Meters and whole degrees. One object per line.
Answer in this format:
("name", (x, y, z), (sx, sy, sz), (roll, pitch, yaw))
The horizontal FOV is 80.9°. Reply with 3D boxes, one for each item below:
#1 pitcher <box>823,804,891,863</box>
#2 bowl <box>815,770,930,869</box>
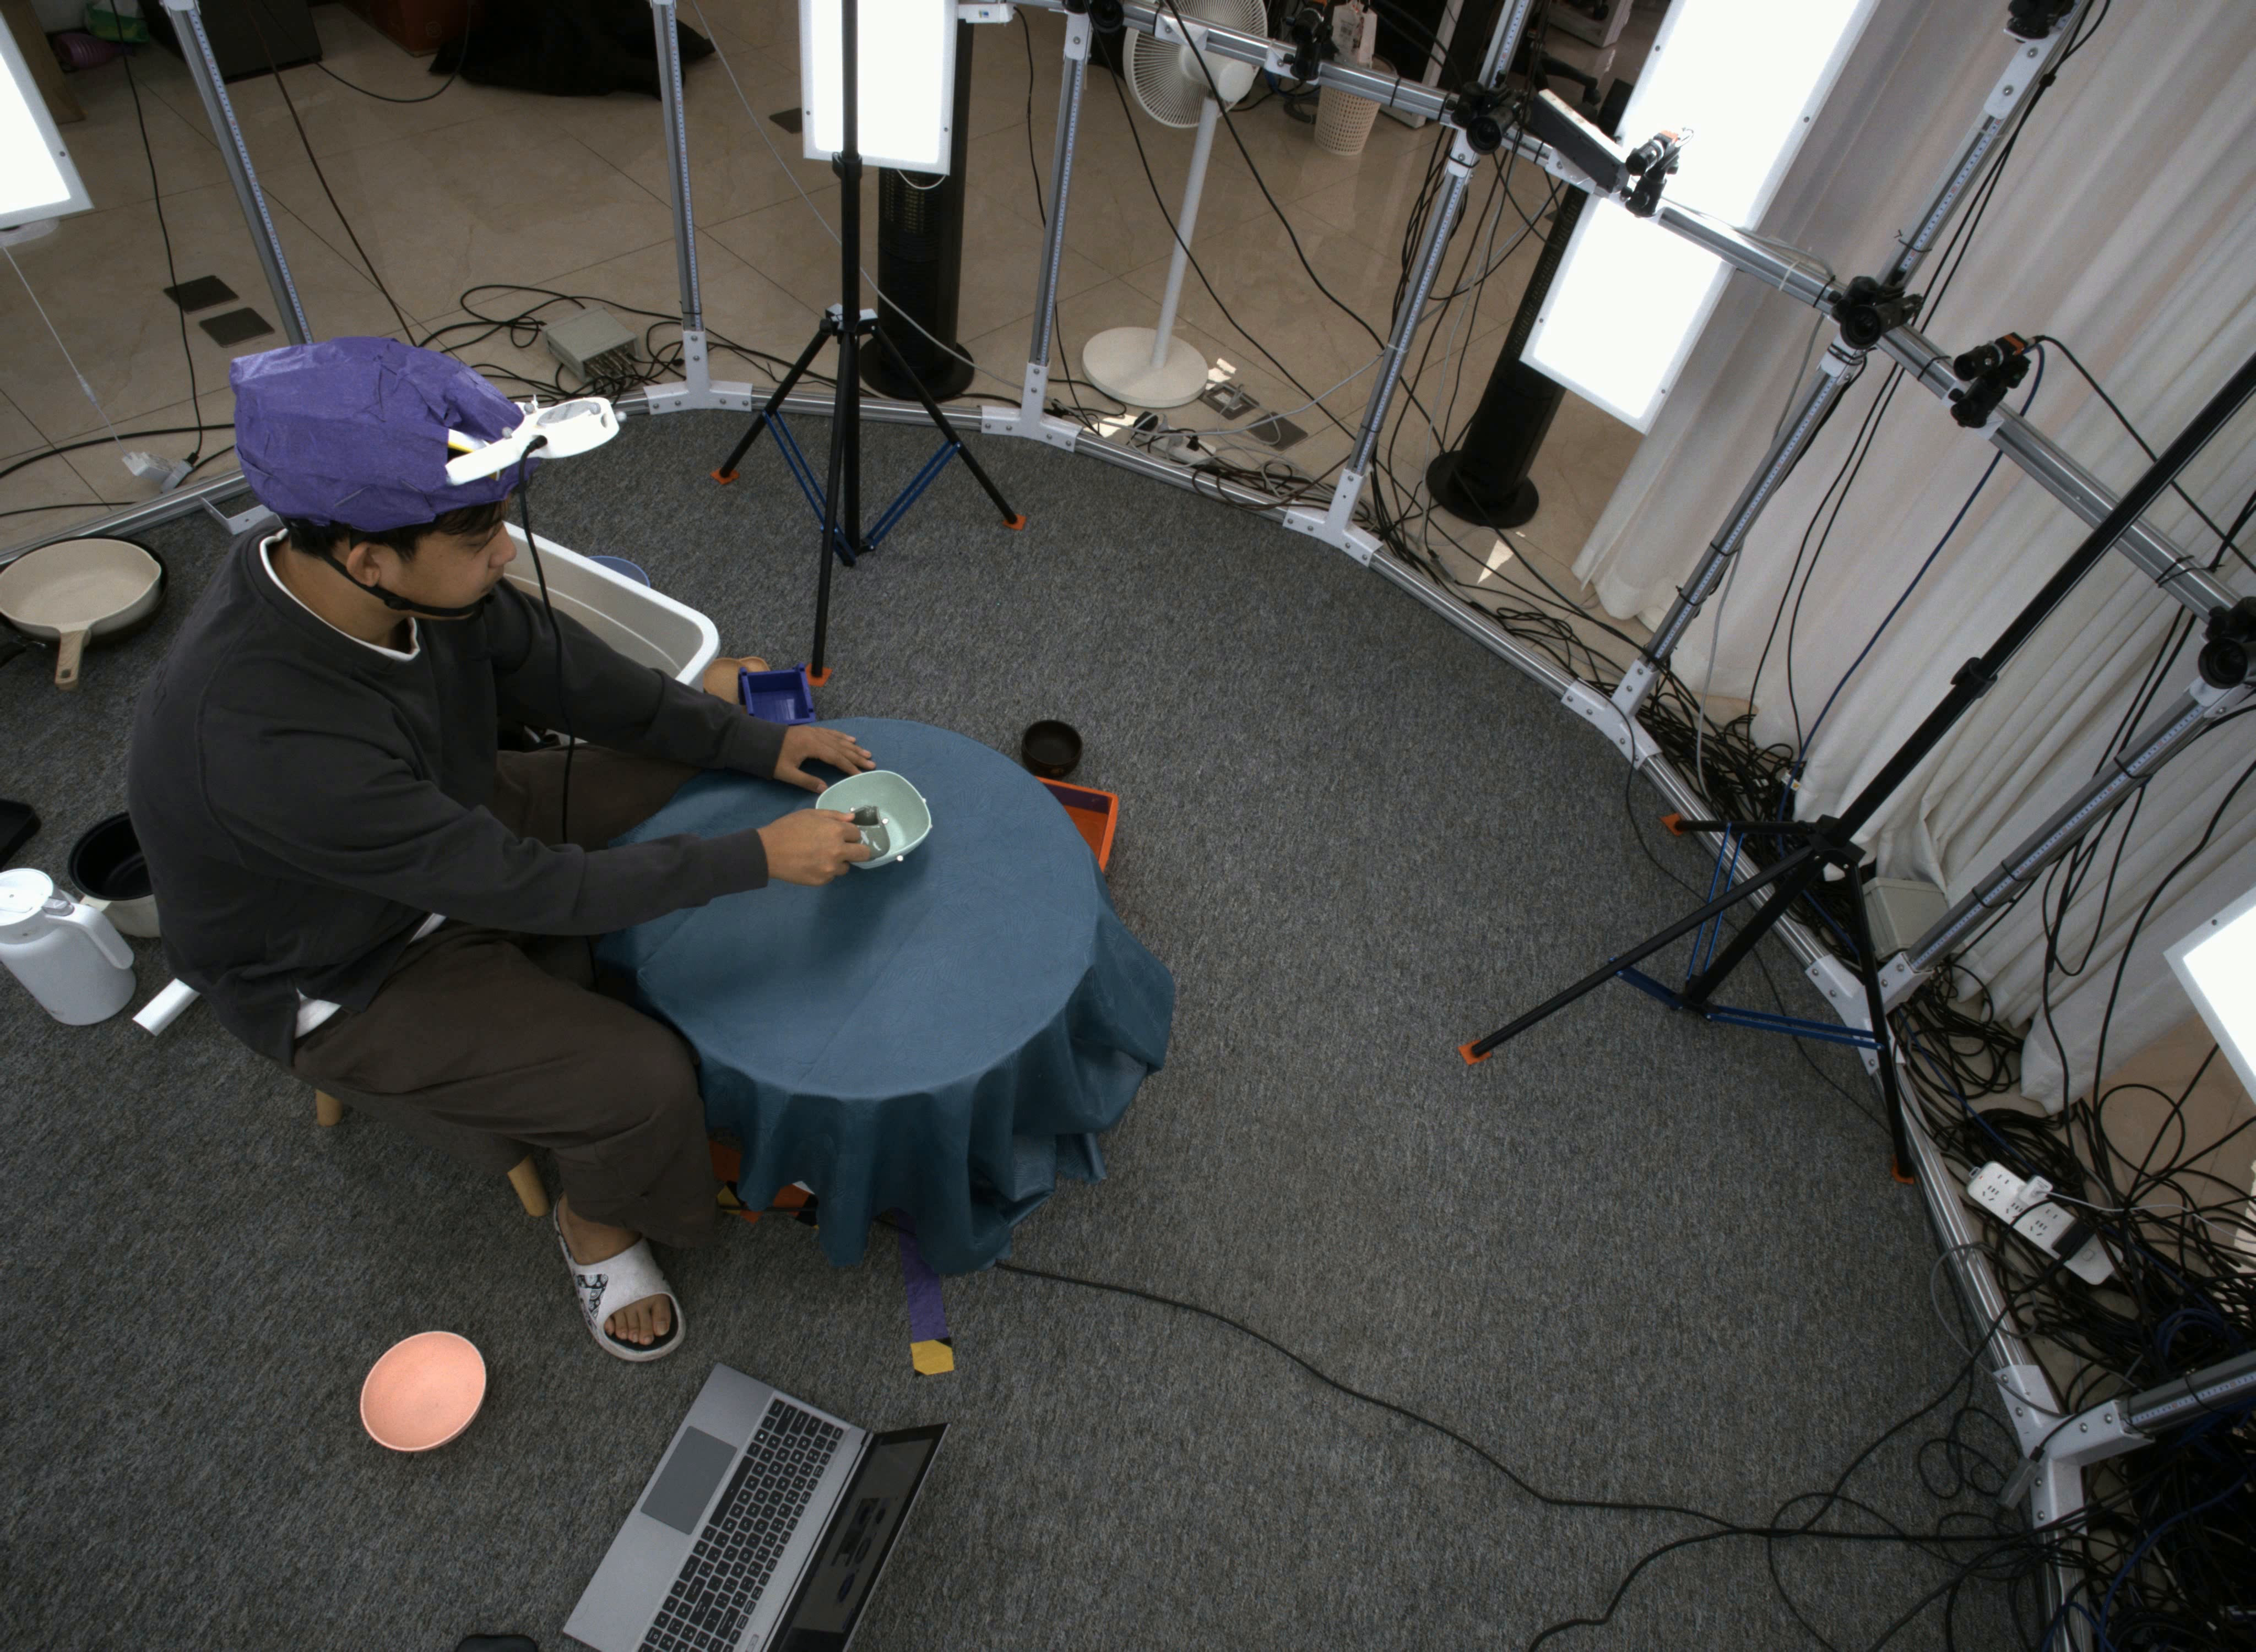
("pitcher", (-0.336, 0.011, 1.602), (0.083, 0.057, 0.111), (11, 17, 4))
("bowl", (-0.335, 0.001, 1.706), (0.151, 0.060, 0.149), (8, 52, -9))
